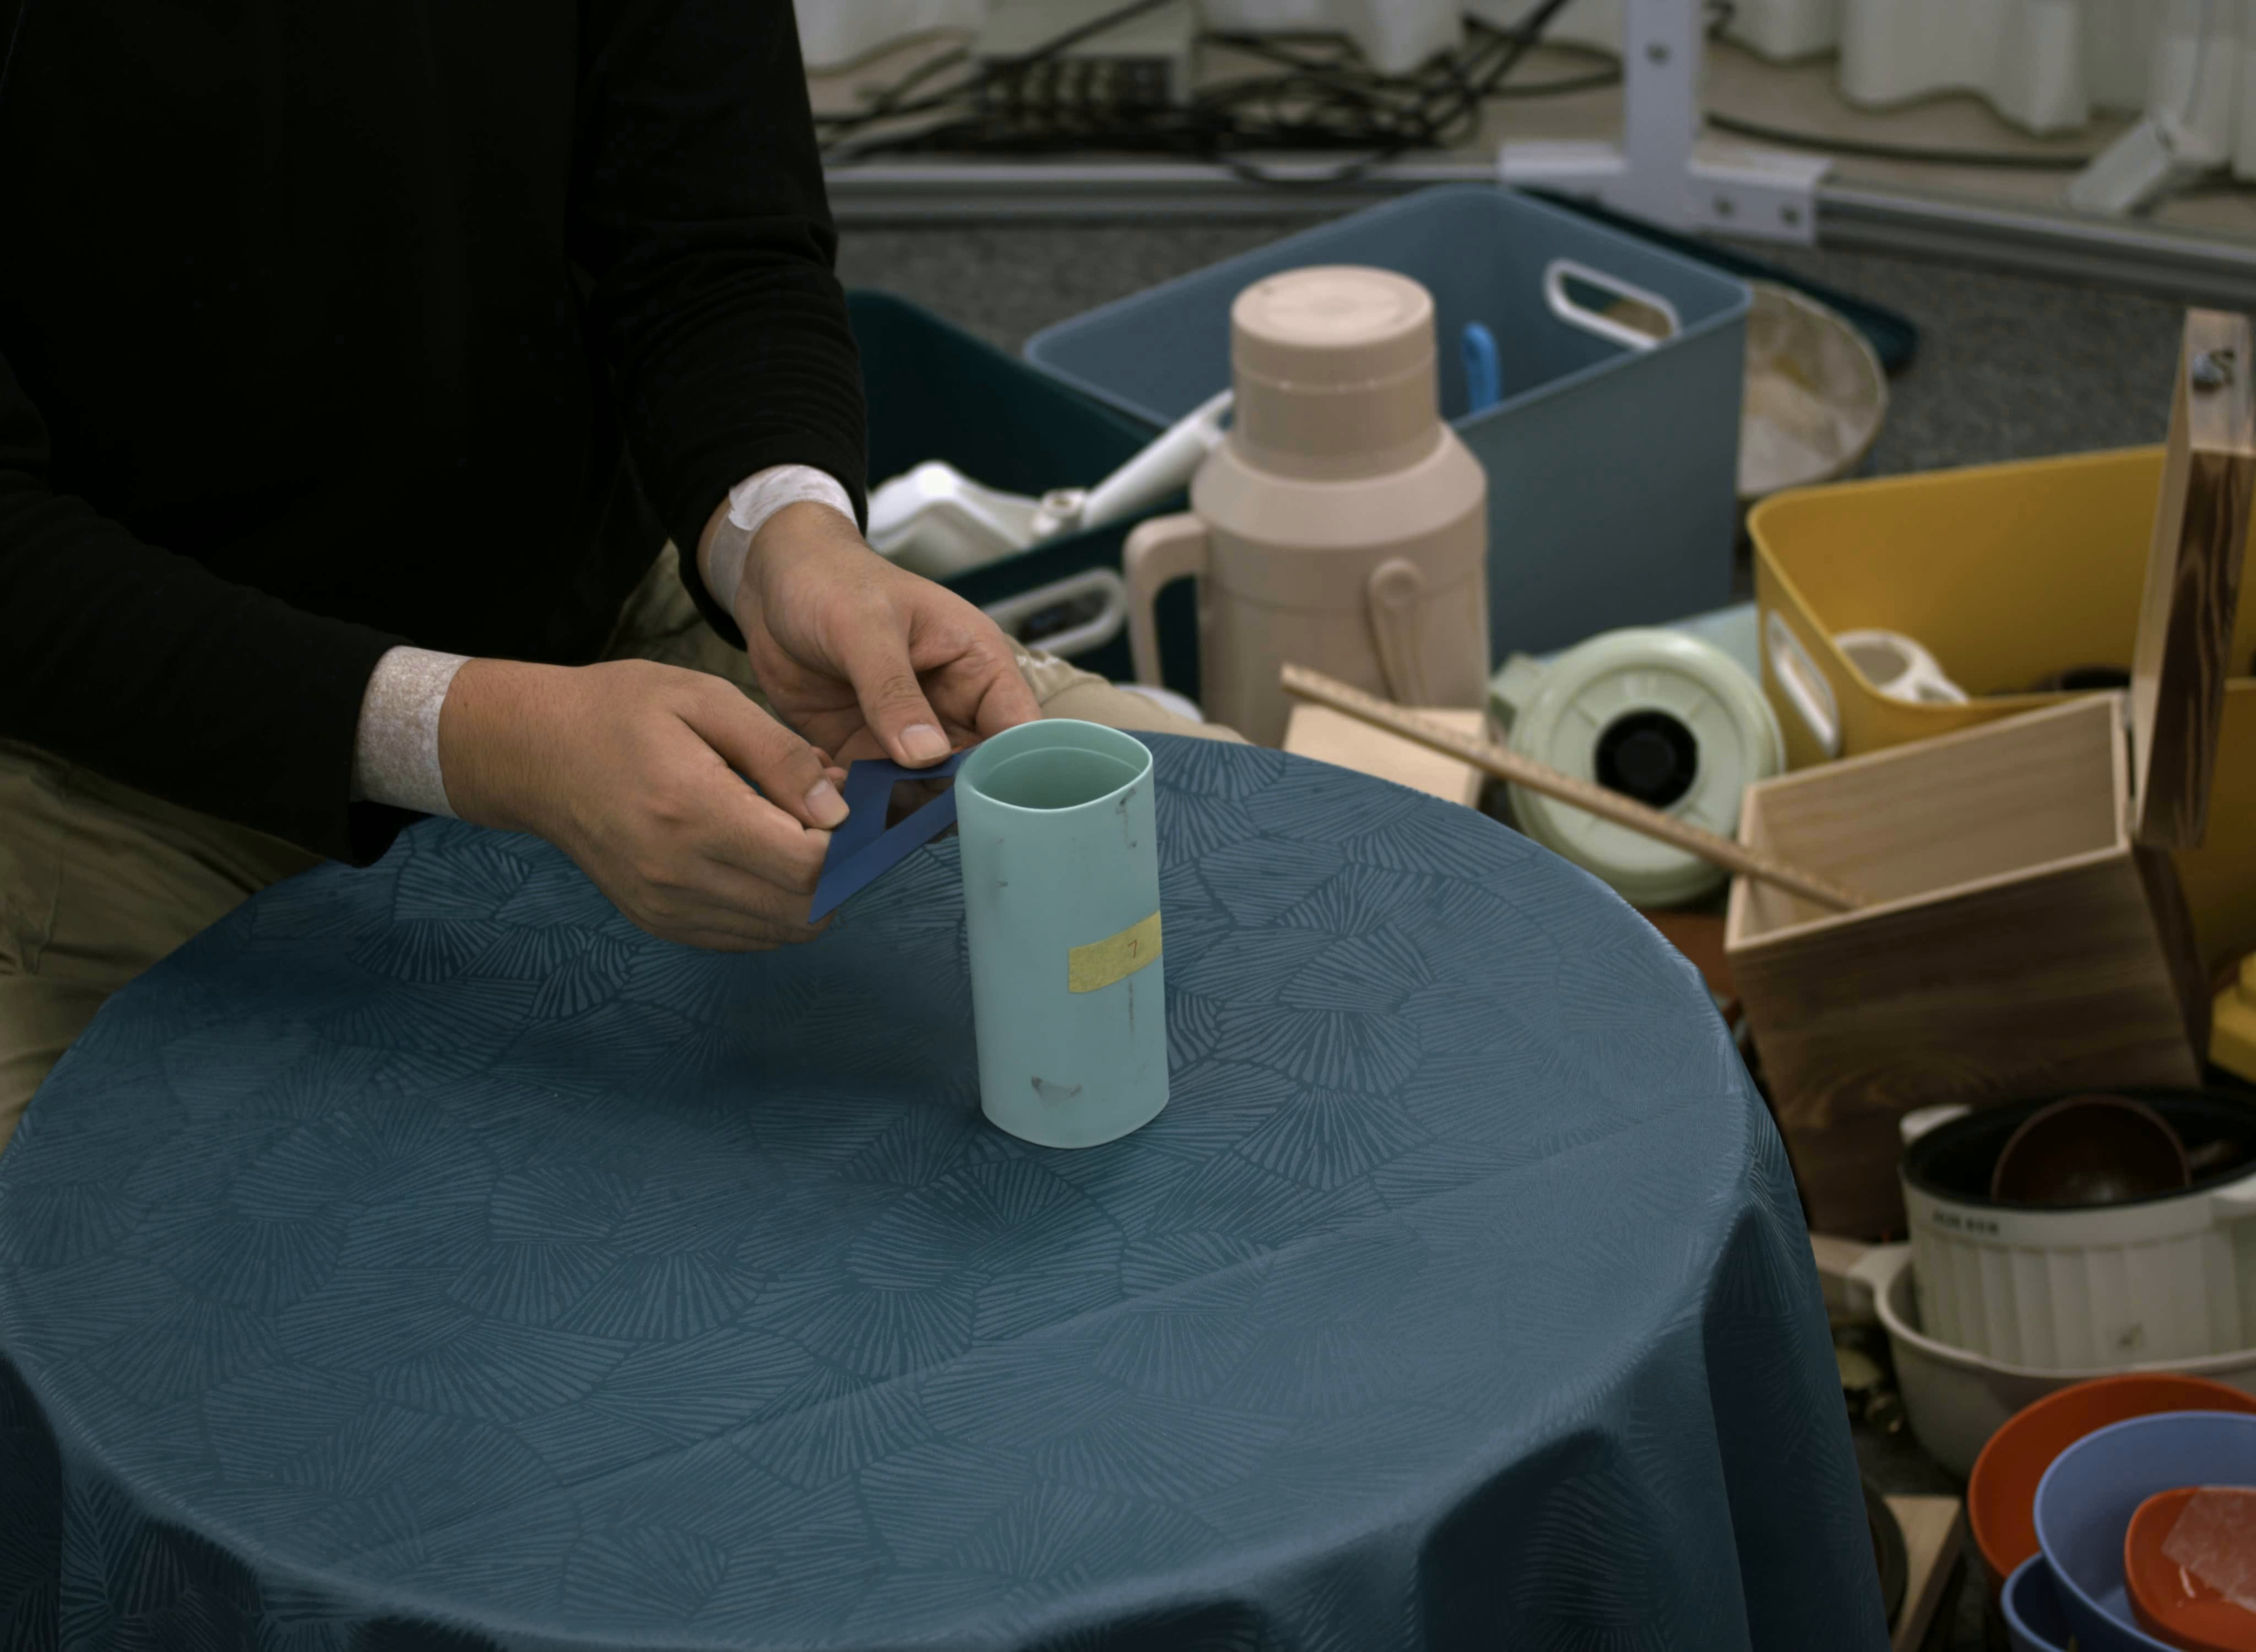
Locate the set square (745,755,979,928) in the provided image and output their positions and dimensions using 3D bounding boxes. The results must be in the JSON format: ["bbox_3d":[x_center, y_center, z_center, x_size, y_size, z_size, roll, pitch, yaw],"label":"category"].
[{"bbox_3d":[-0.097,0.000,1.885,0.061,0.006,0.134,16,34,35],"label":"set square"}]

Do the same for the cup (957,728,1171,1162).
[{"bbox_3d":[-0.022,0.040,1.889,0.066,0.131,0.068,-2,27,2],"label":"cup"}]
